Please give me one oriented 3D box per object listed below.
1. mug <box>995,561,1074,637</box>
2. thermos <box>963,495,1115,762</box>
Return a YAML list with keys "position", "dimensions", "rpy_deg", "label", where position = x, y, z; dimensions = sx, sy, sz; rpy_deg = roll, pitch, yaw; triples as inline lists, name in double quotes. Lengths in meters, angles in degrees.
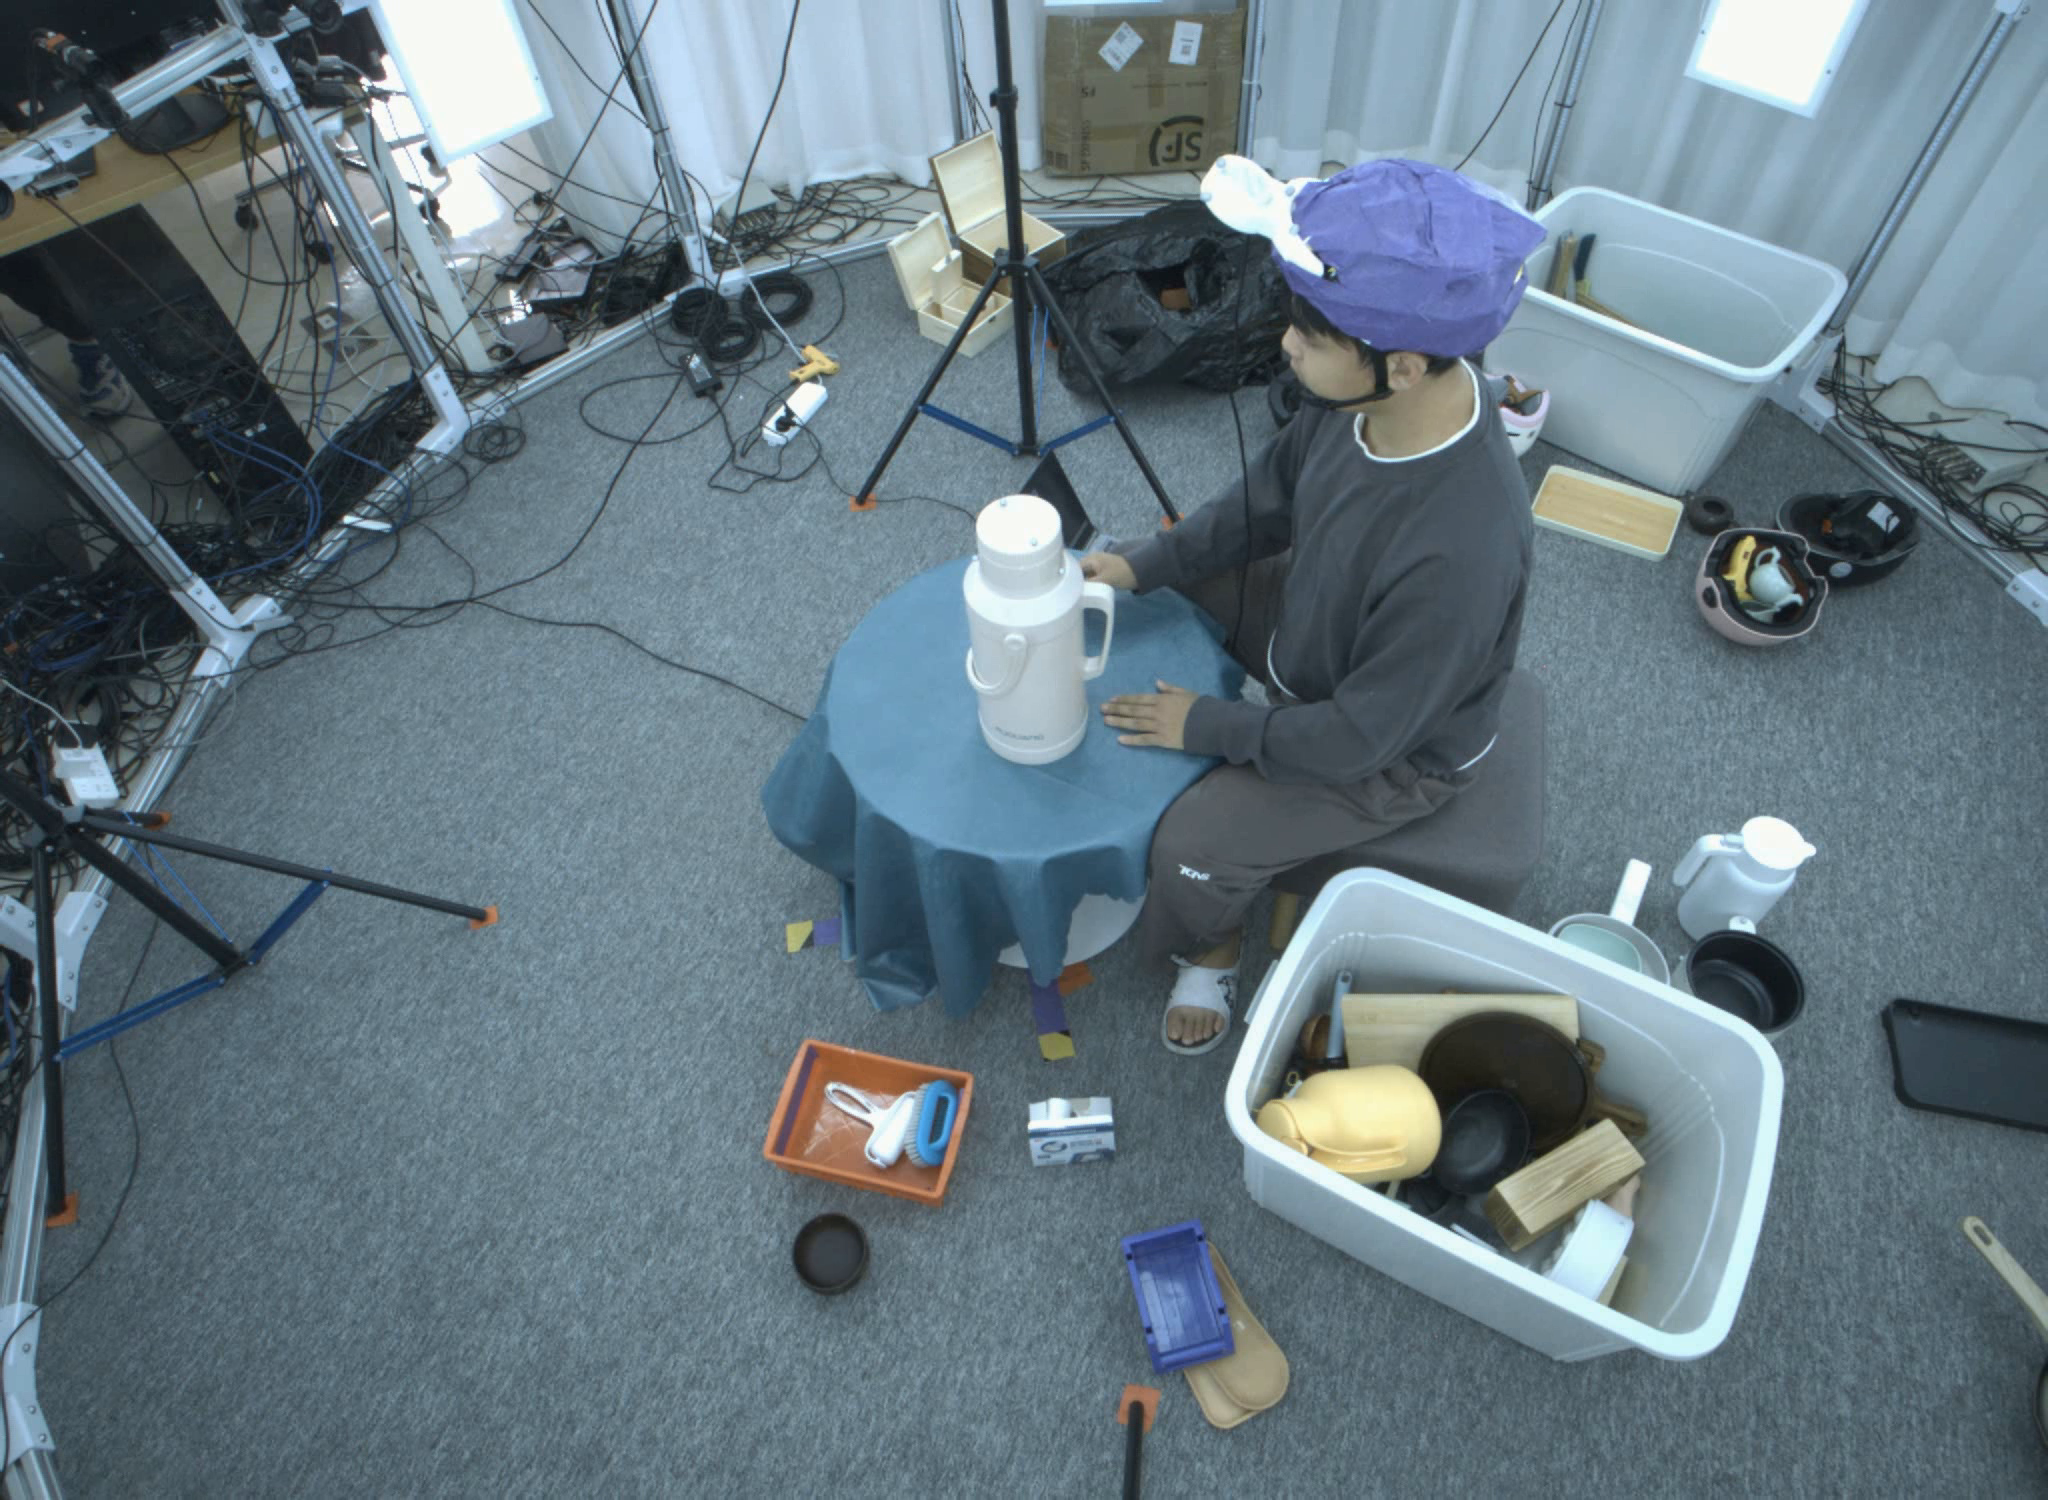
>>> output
- position: [0.015, -0.233, 1.896]
  dimensions: [0.123, 0.091, 0.092]
  rpy_deg: [-2, 55, 1]
  label: "mug"
- position: [0.018, -0.158, 1.655]
  dimensions: [0.206, 0.411, 0.174]
  rpy_deg: [3, 55, 6]
  label: "thermos"
